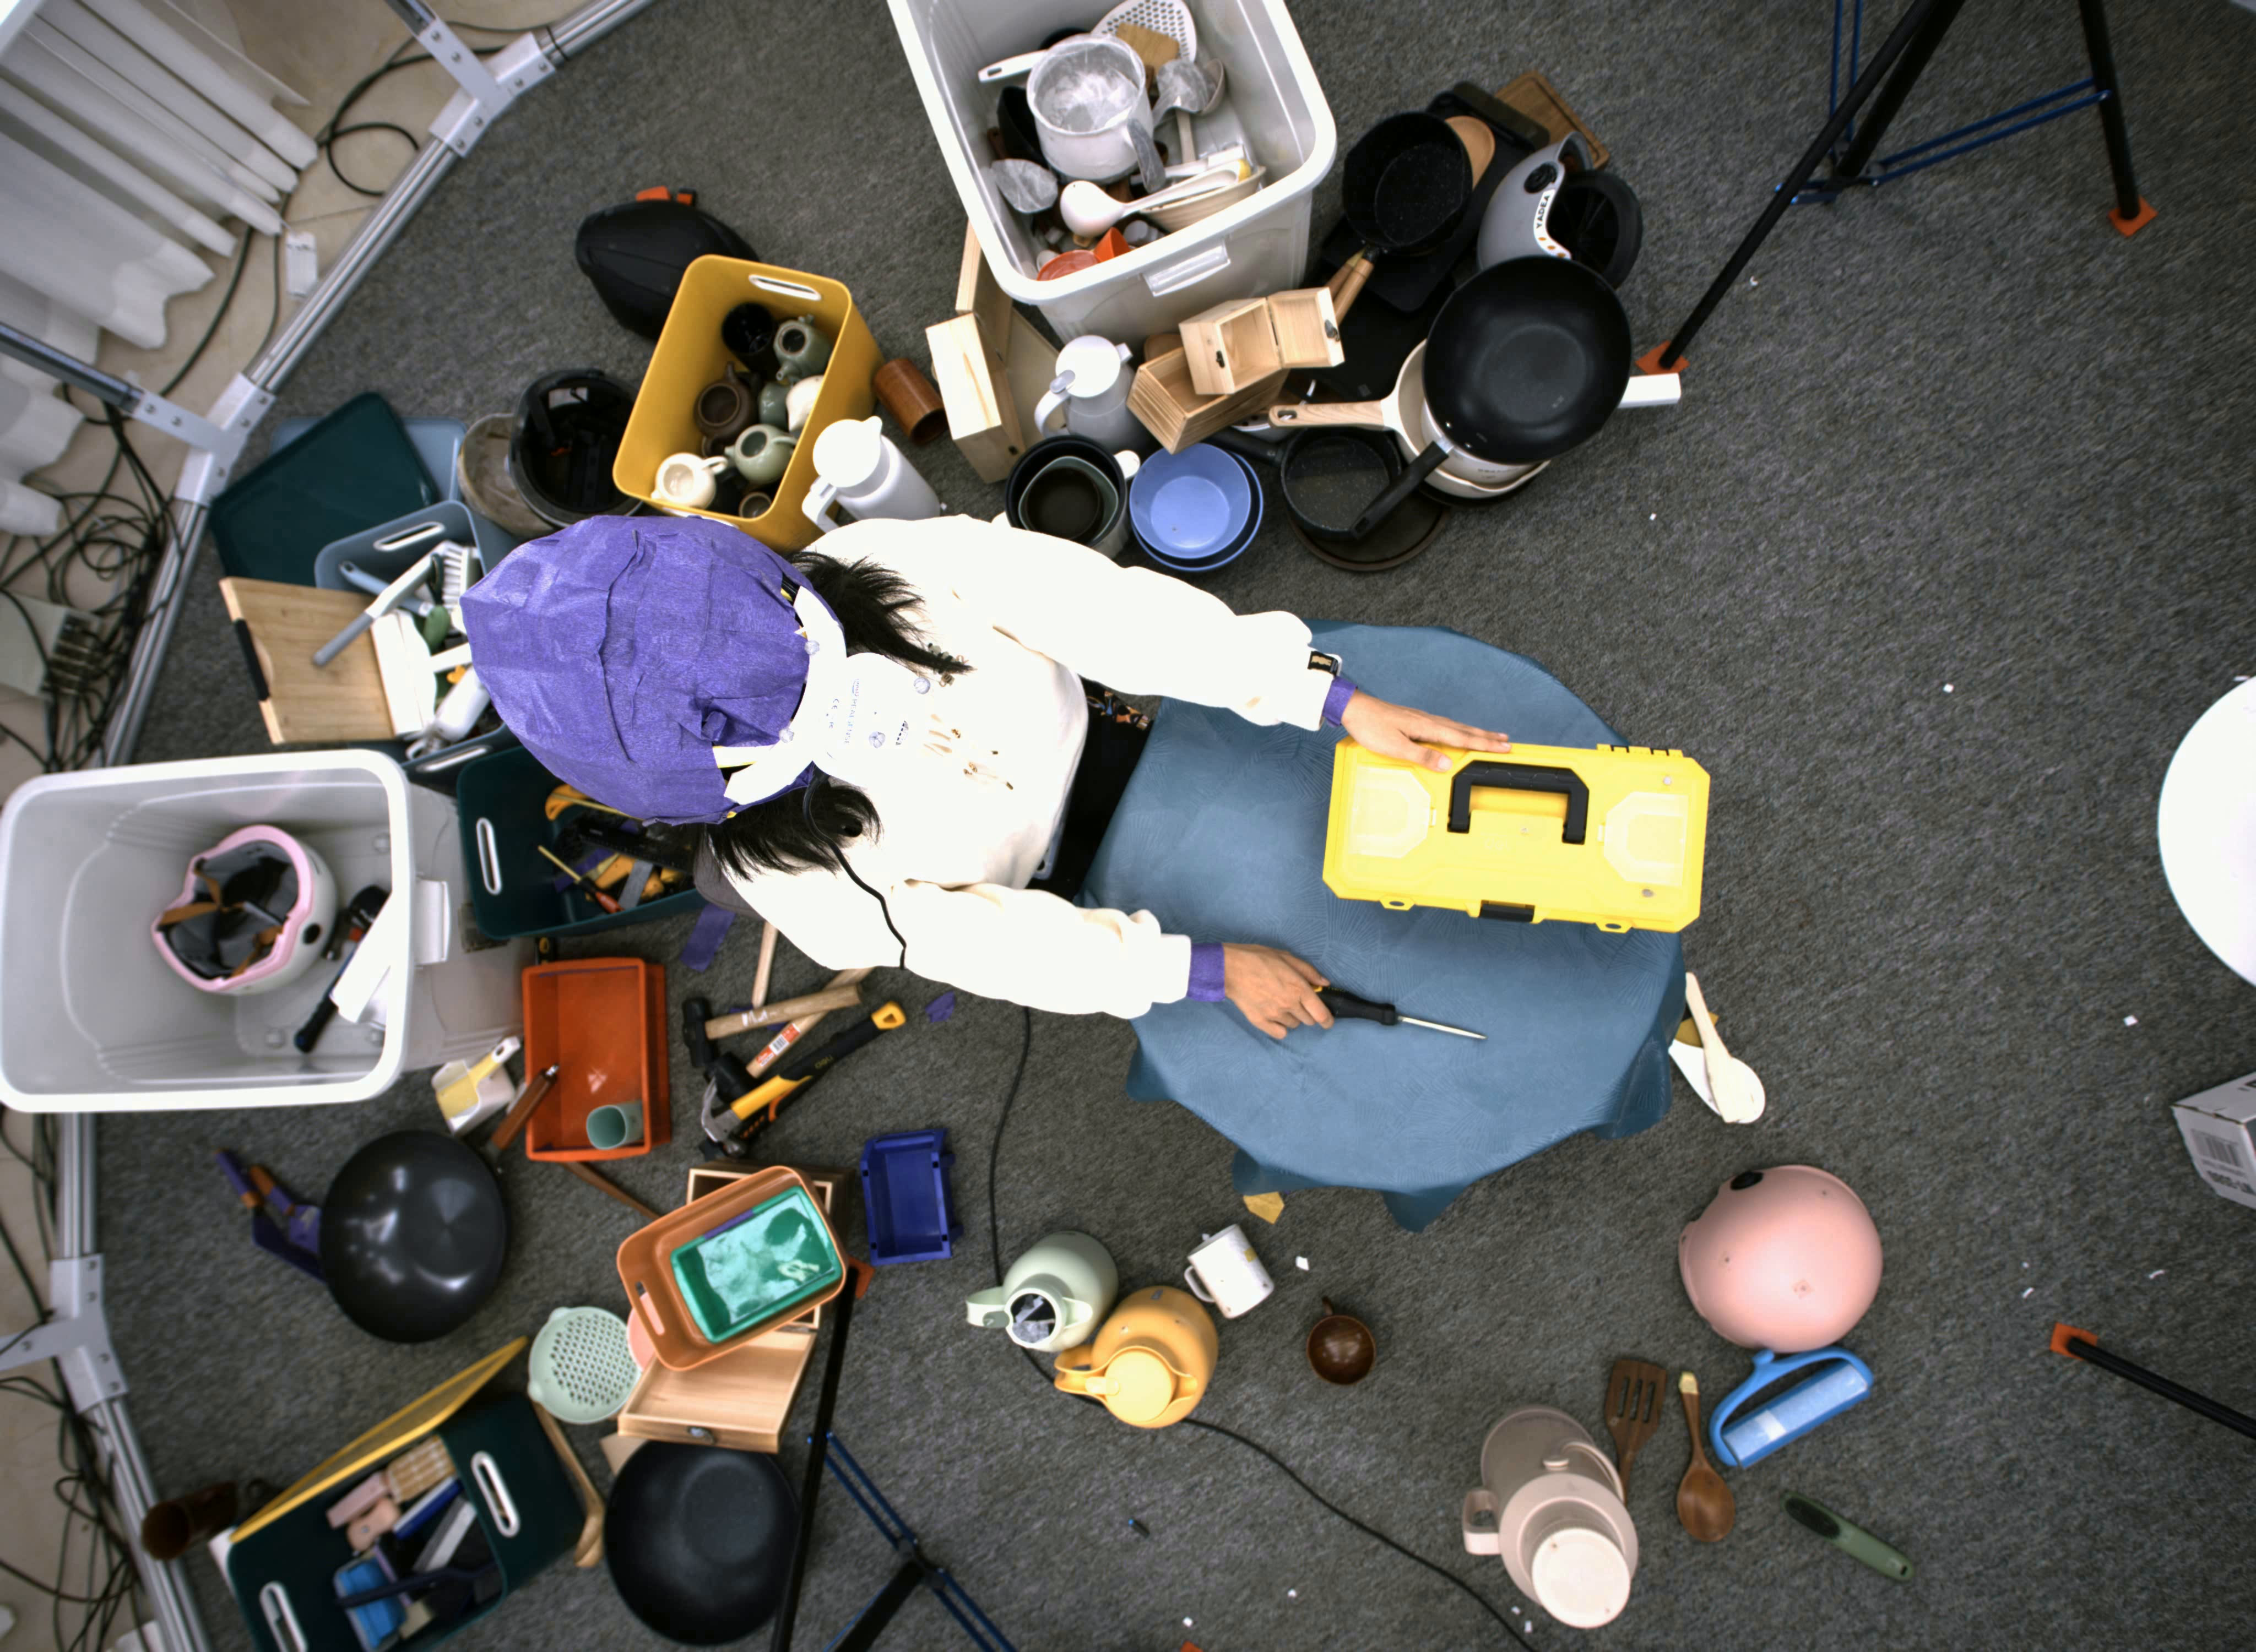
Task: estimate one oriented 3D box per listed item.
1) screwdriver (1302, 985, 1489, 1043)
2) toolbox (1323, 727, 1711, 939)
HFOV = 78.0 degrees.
[{"bbox_3d":[0.279,0.199,1.448,0.198,0.031,0.031,14,87,7],"label":"screwdriver"},{"bbox_3d":[0.375,0.006,1.356,0.352,0.173,0.180,6,87,11],"label":"toolbox"}]
